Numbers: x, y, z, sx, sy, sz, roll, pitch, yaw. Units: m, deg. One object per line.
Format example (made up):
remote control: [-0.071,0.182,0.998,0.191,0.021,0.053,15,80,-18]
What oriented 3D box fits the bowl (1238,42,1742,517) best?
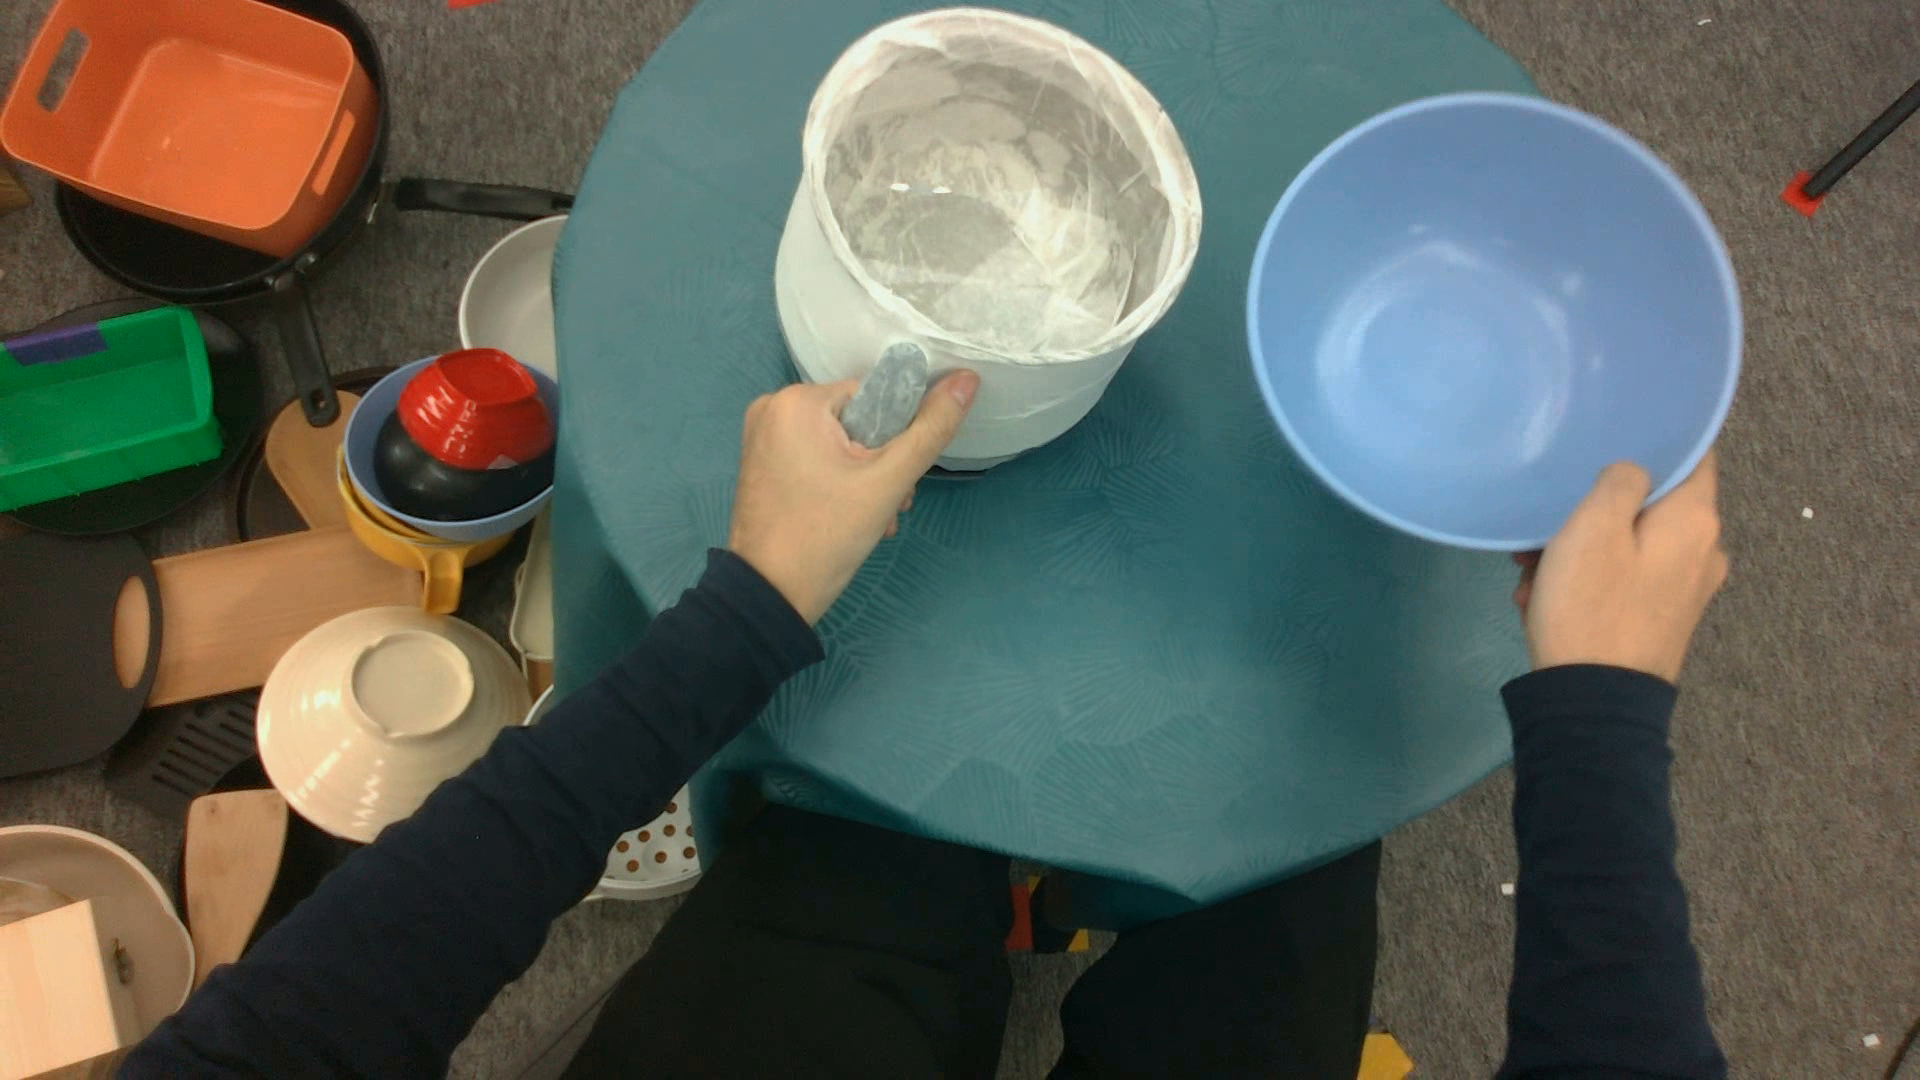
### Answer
bowl: [0.213,-0.100,0.592,0.196,0.095,0.197,-1,81,4]

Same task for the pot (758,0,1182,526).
pot: [-0.013,-0.119,0.634,0.179,0.136,0.234,26,64,-3]
